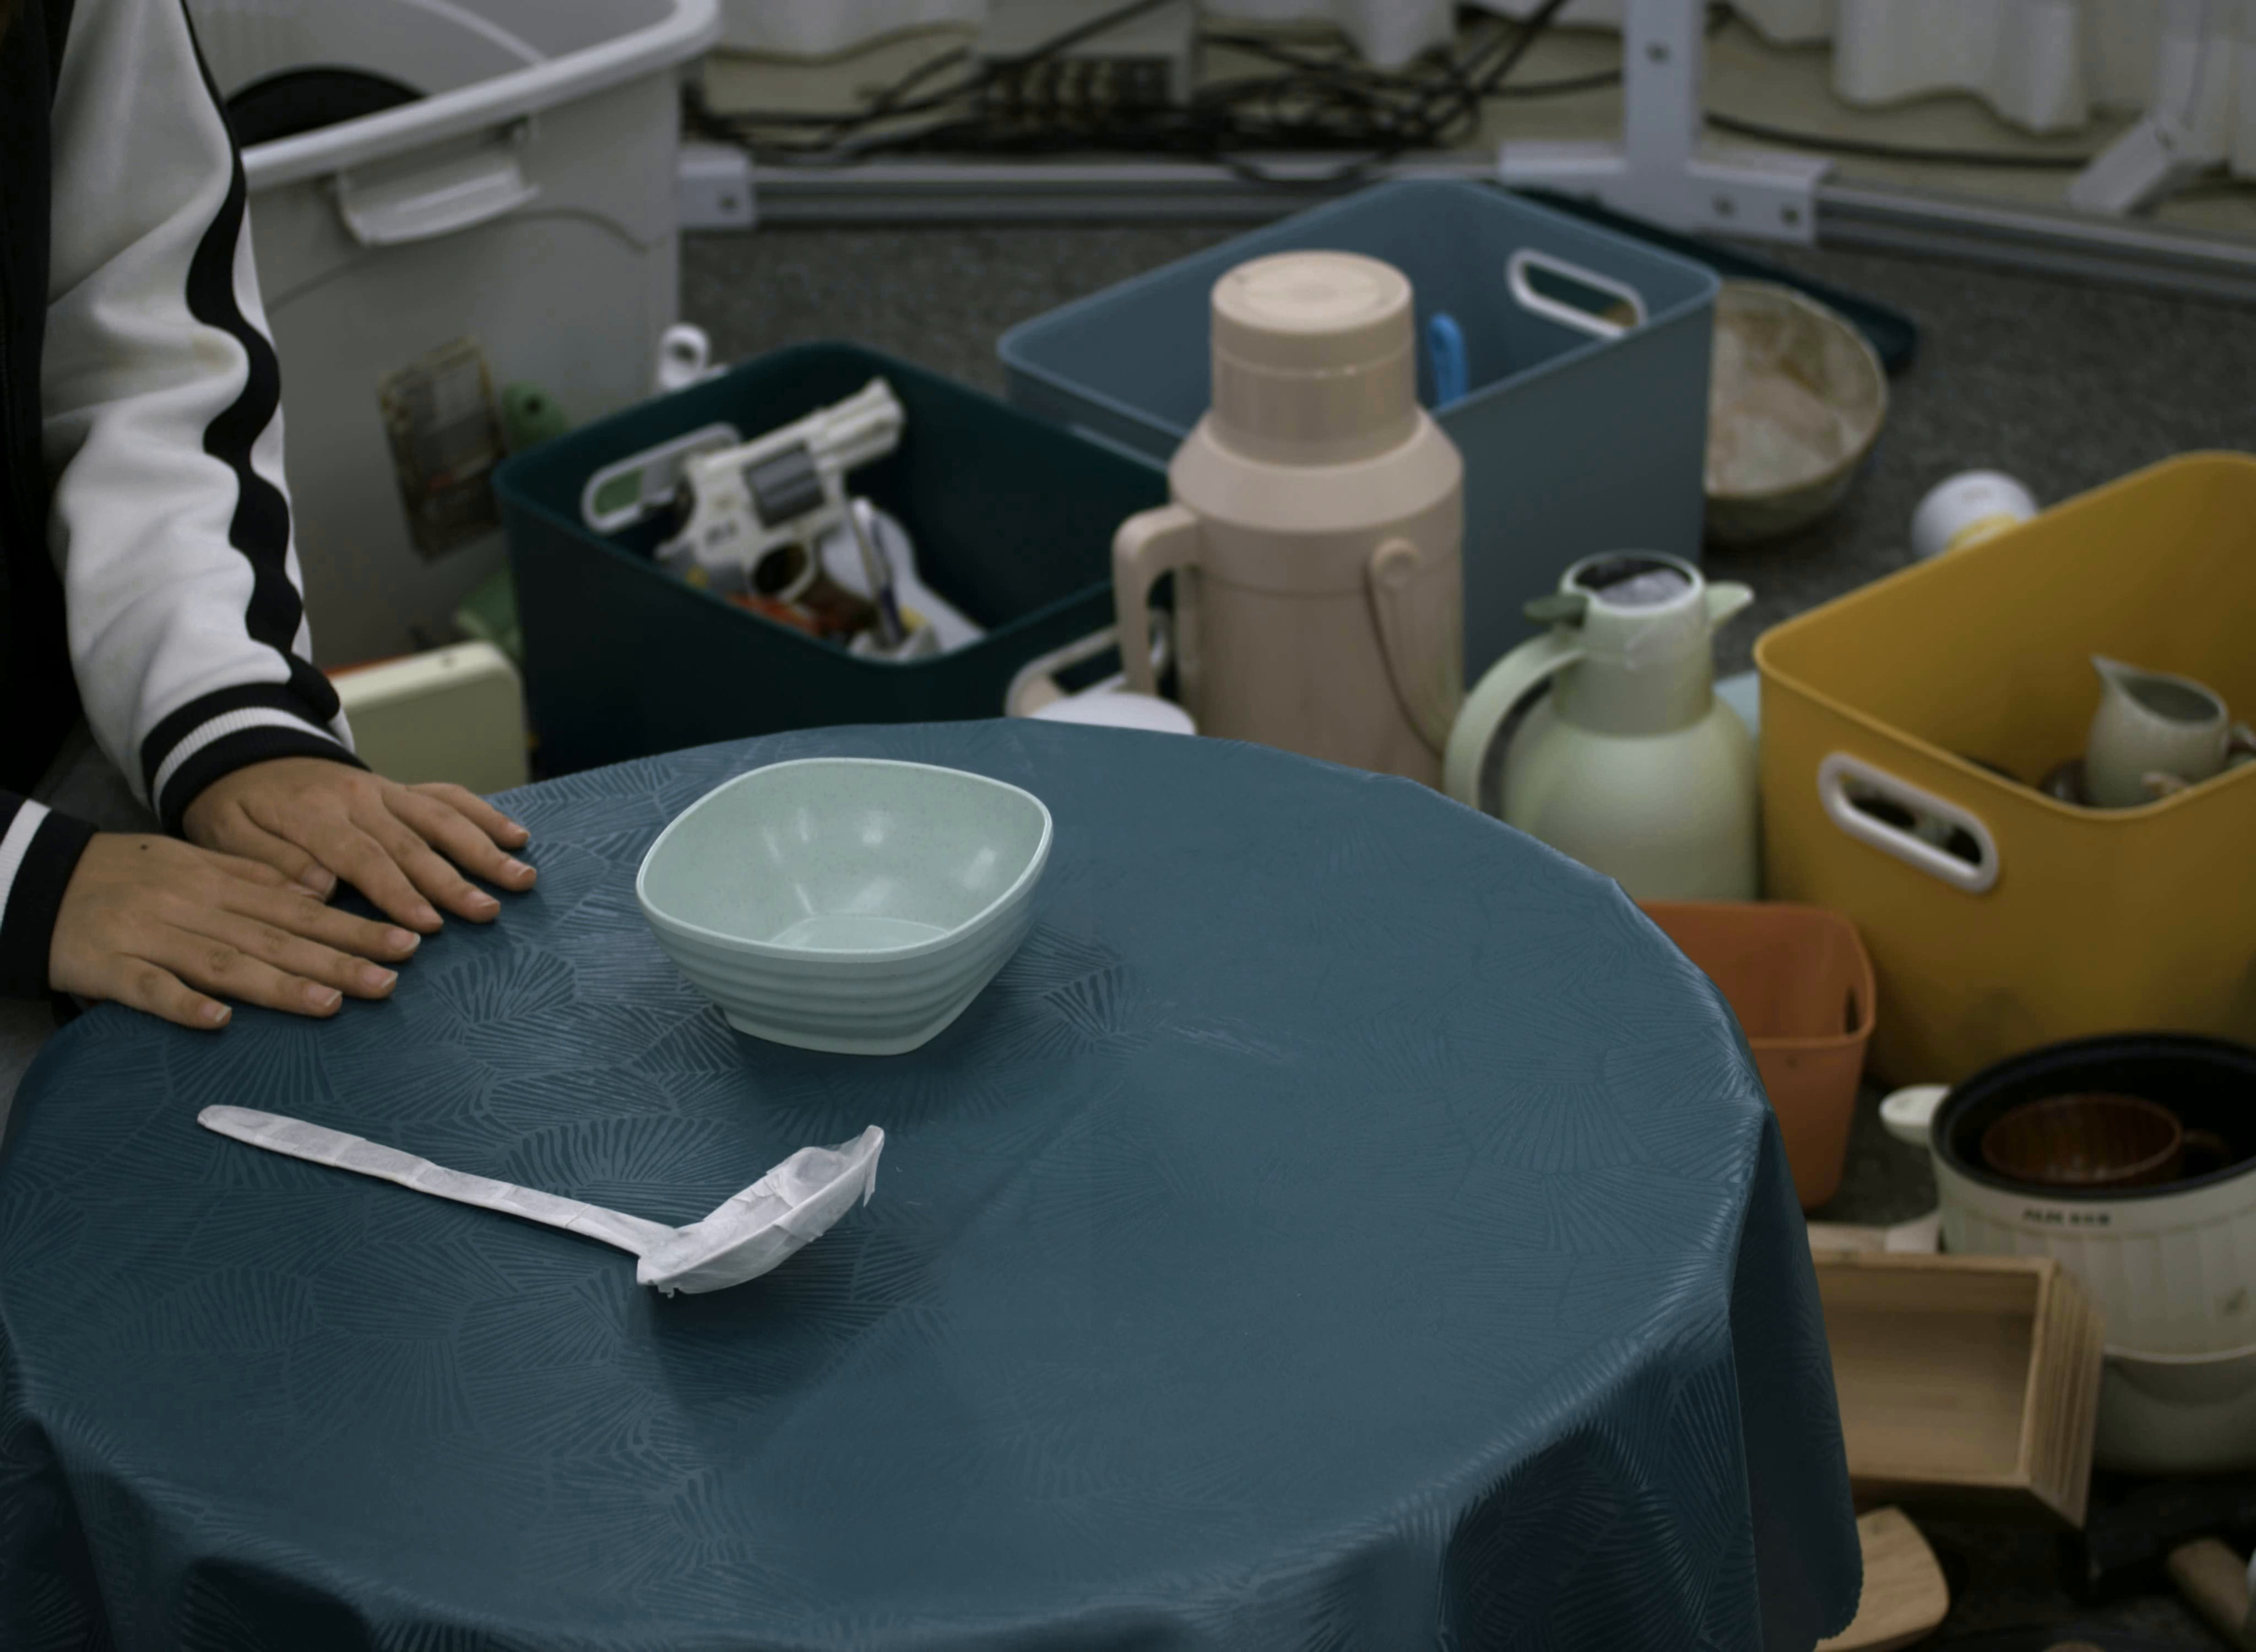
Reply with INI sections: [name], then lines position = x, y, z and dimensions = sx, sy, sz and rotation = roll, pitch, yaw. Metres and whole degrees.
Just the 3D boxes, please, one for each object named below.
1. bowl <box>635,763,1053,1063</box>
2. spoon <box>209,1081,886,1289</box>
[bowl]
position = -0.098, 0.036, 1.979
dimensions = 0.151, 0.058, 0.154
rotation = -2, 27, 1
[spoon]
position = -0.199, 0.099, 1.862
dimensions = 0.276, 0.059, 0.102
rotation = 16, 28, 31
